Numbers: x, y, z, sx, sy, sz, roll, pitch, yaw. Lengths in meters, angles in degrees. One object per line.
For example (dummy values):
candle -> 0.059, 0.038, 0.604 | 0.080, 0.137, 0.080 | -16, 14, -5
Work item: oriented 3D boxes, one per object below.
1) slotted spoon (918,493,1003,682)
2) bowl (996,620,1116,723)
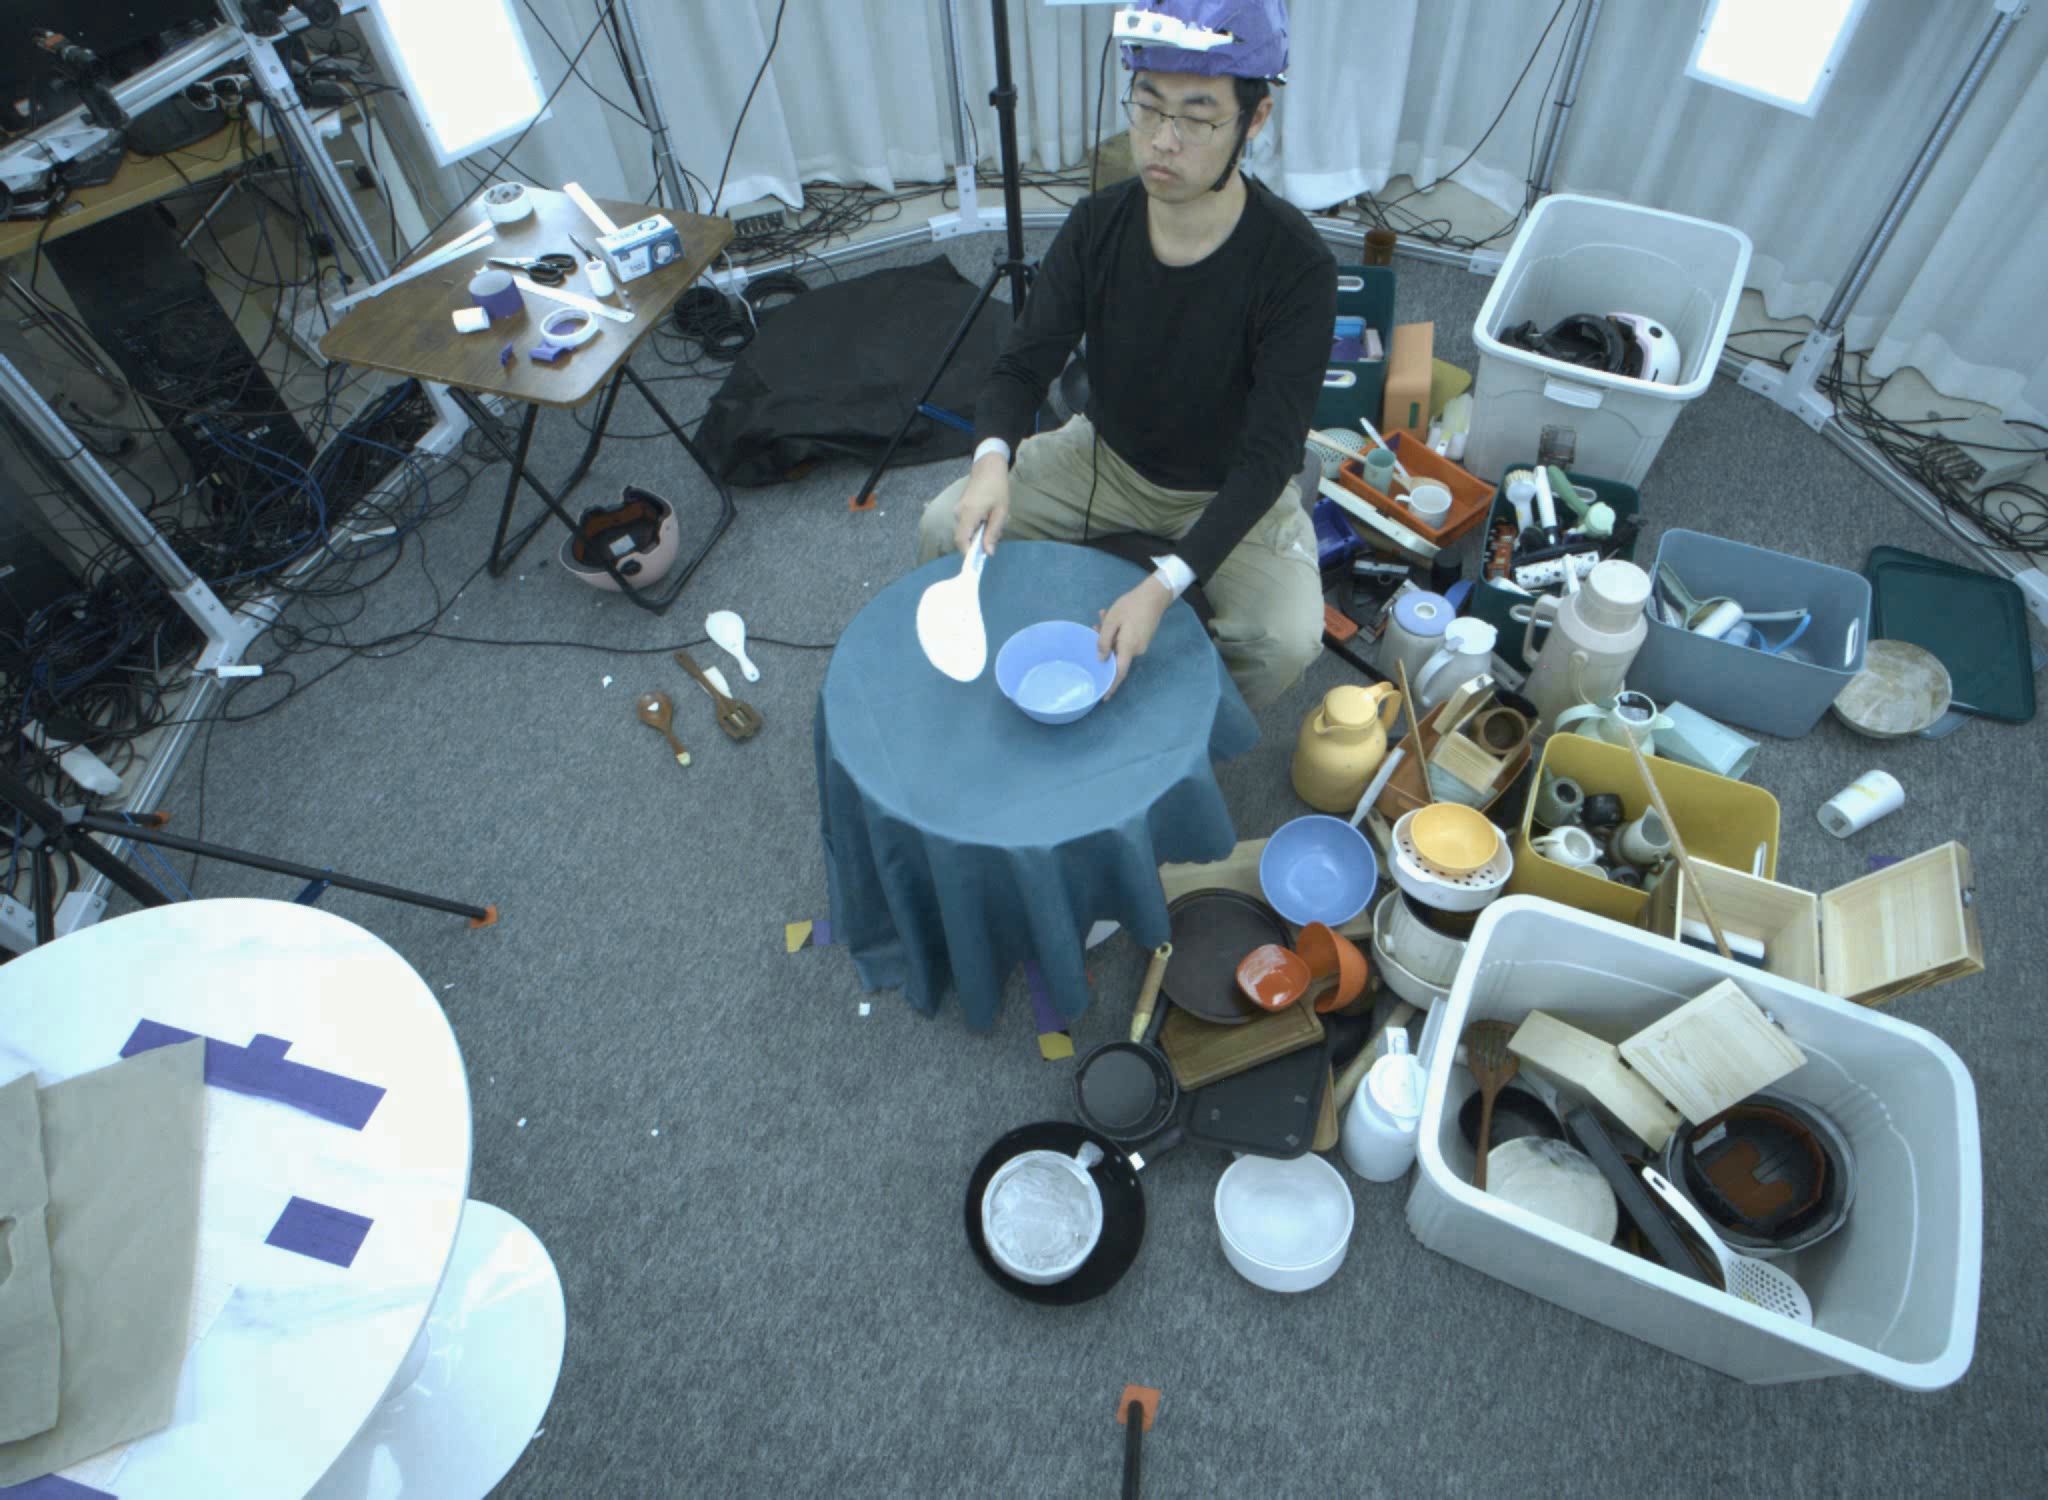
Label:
slotted spoon -> -0.078, -0.239, 1.714 | 0.045, 0.139, 0.348 | -12, 47, 37
bowl -> 0.048, -0.105, 1.817 | 0.176, 0.071, 0.174 | 0, 54, 2
